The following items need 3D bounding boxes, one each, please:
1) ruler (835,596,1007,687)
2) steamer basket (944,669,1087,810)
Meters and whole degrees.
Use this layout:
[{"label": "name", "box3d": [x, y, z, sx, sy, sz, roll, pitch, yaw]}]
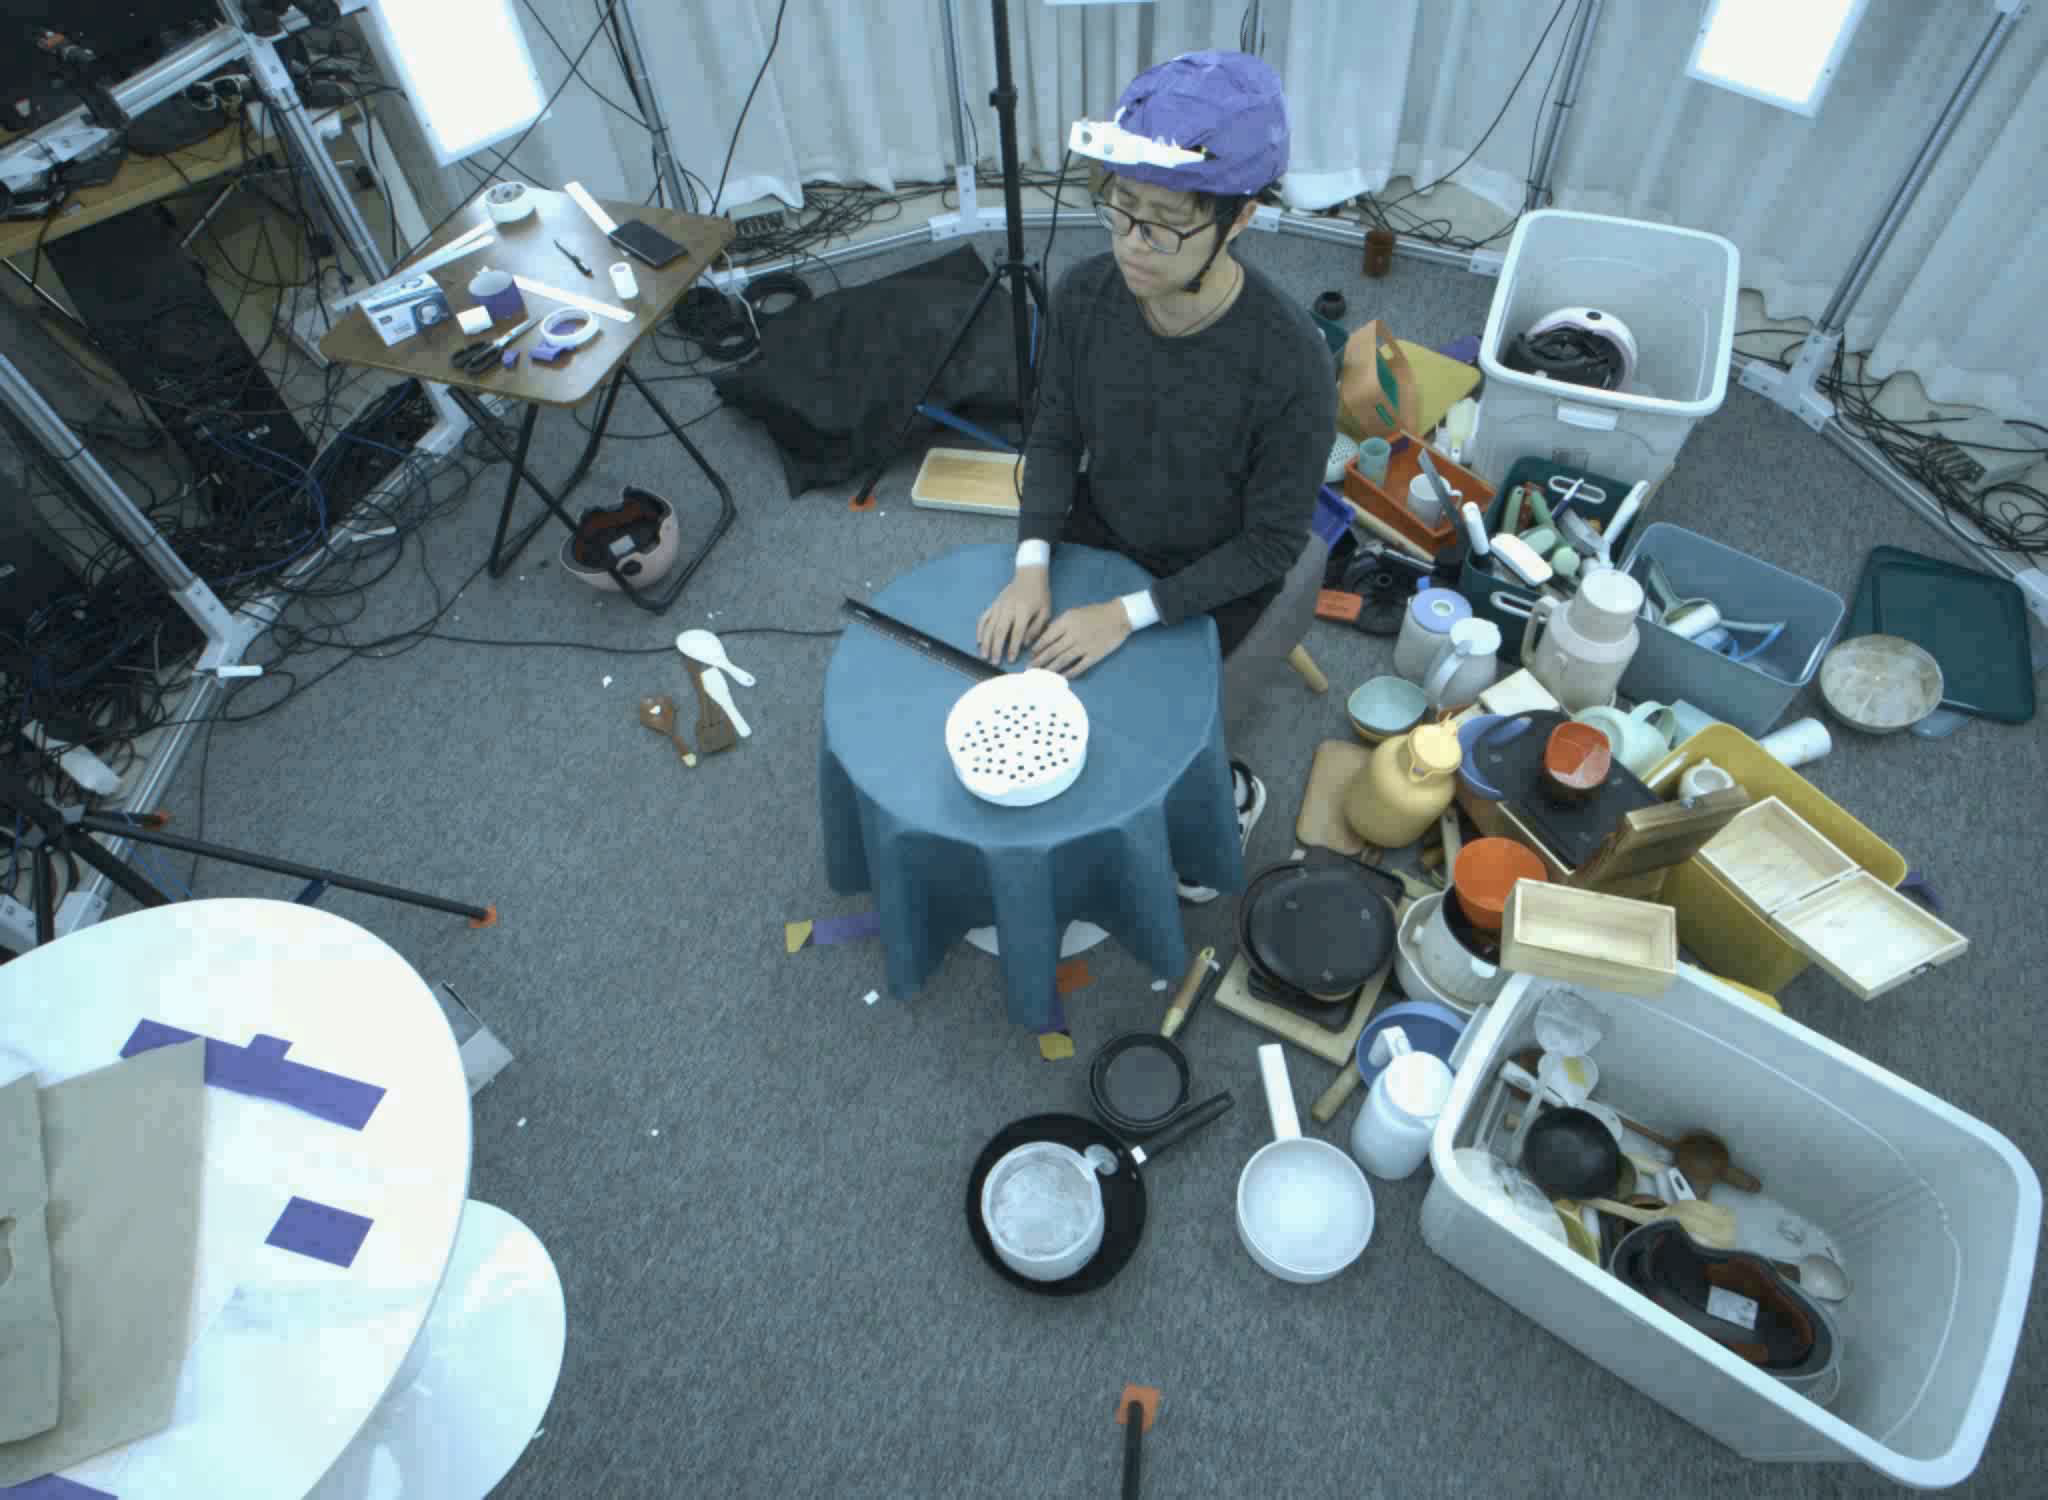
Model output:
[{"label": "ruler", "box3d": [-0.166, -0.170, 1.904, 0.308, 0.017, 0.039, 27, 64, 19]}, {"label": "steamer basket", "box3d": [-0.010, -0.009, 1.752, 0.199, 0.070, 0.230, 19, 60, 15]}]
